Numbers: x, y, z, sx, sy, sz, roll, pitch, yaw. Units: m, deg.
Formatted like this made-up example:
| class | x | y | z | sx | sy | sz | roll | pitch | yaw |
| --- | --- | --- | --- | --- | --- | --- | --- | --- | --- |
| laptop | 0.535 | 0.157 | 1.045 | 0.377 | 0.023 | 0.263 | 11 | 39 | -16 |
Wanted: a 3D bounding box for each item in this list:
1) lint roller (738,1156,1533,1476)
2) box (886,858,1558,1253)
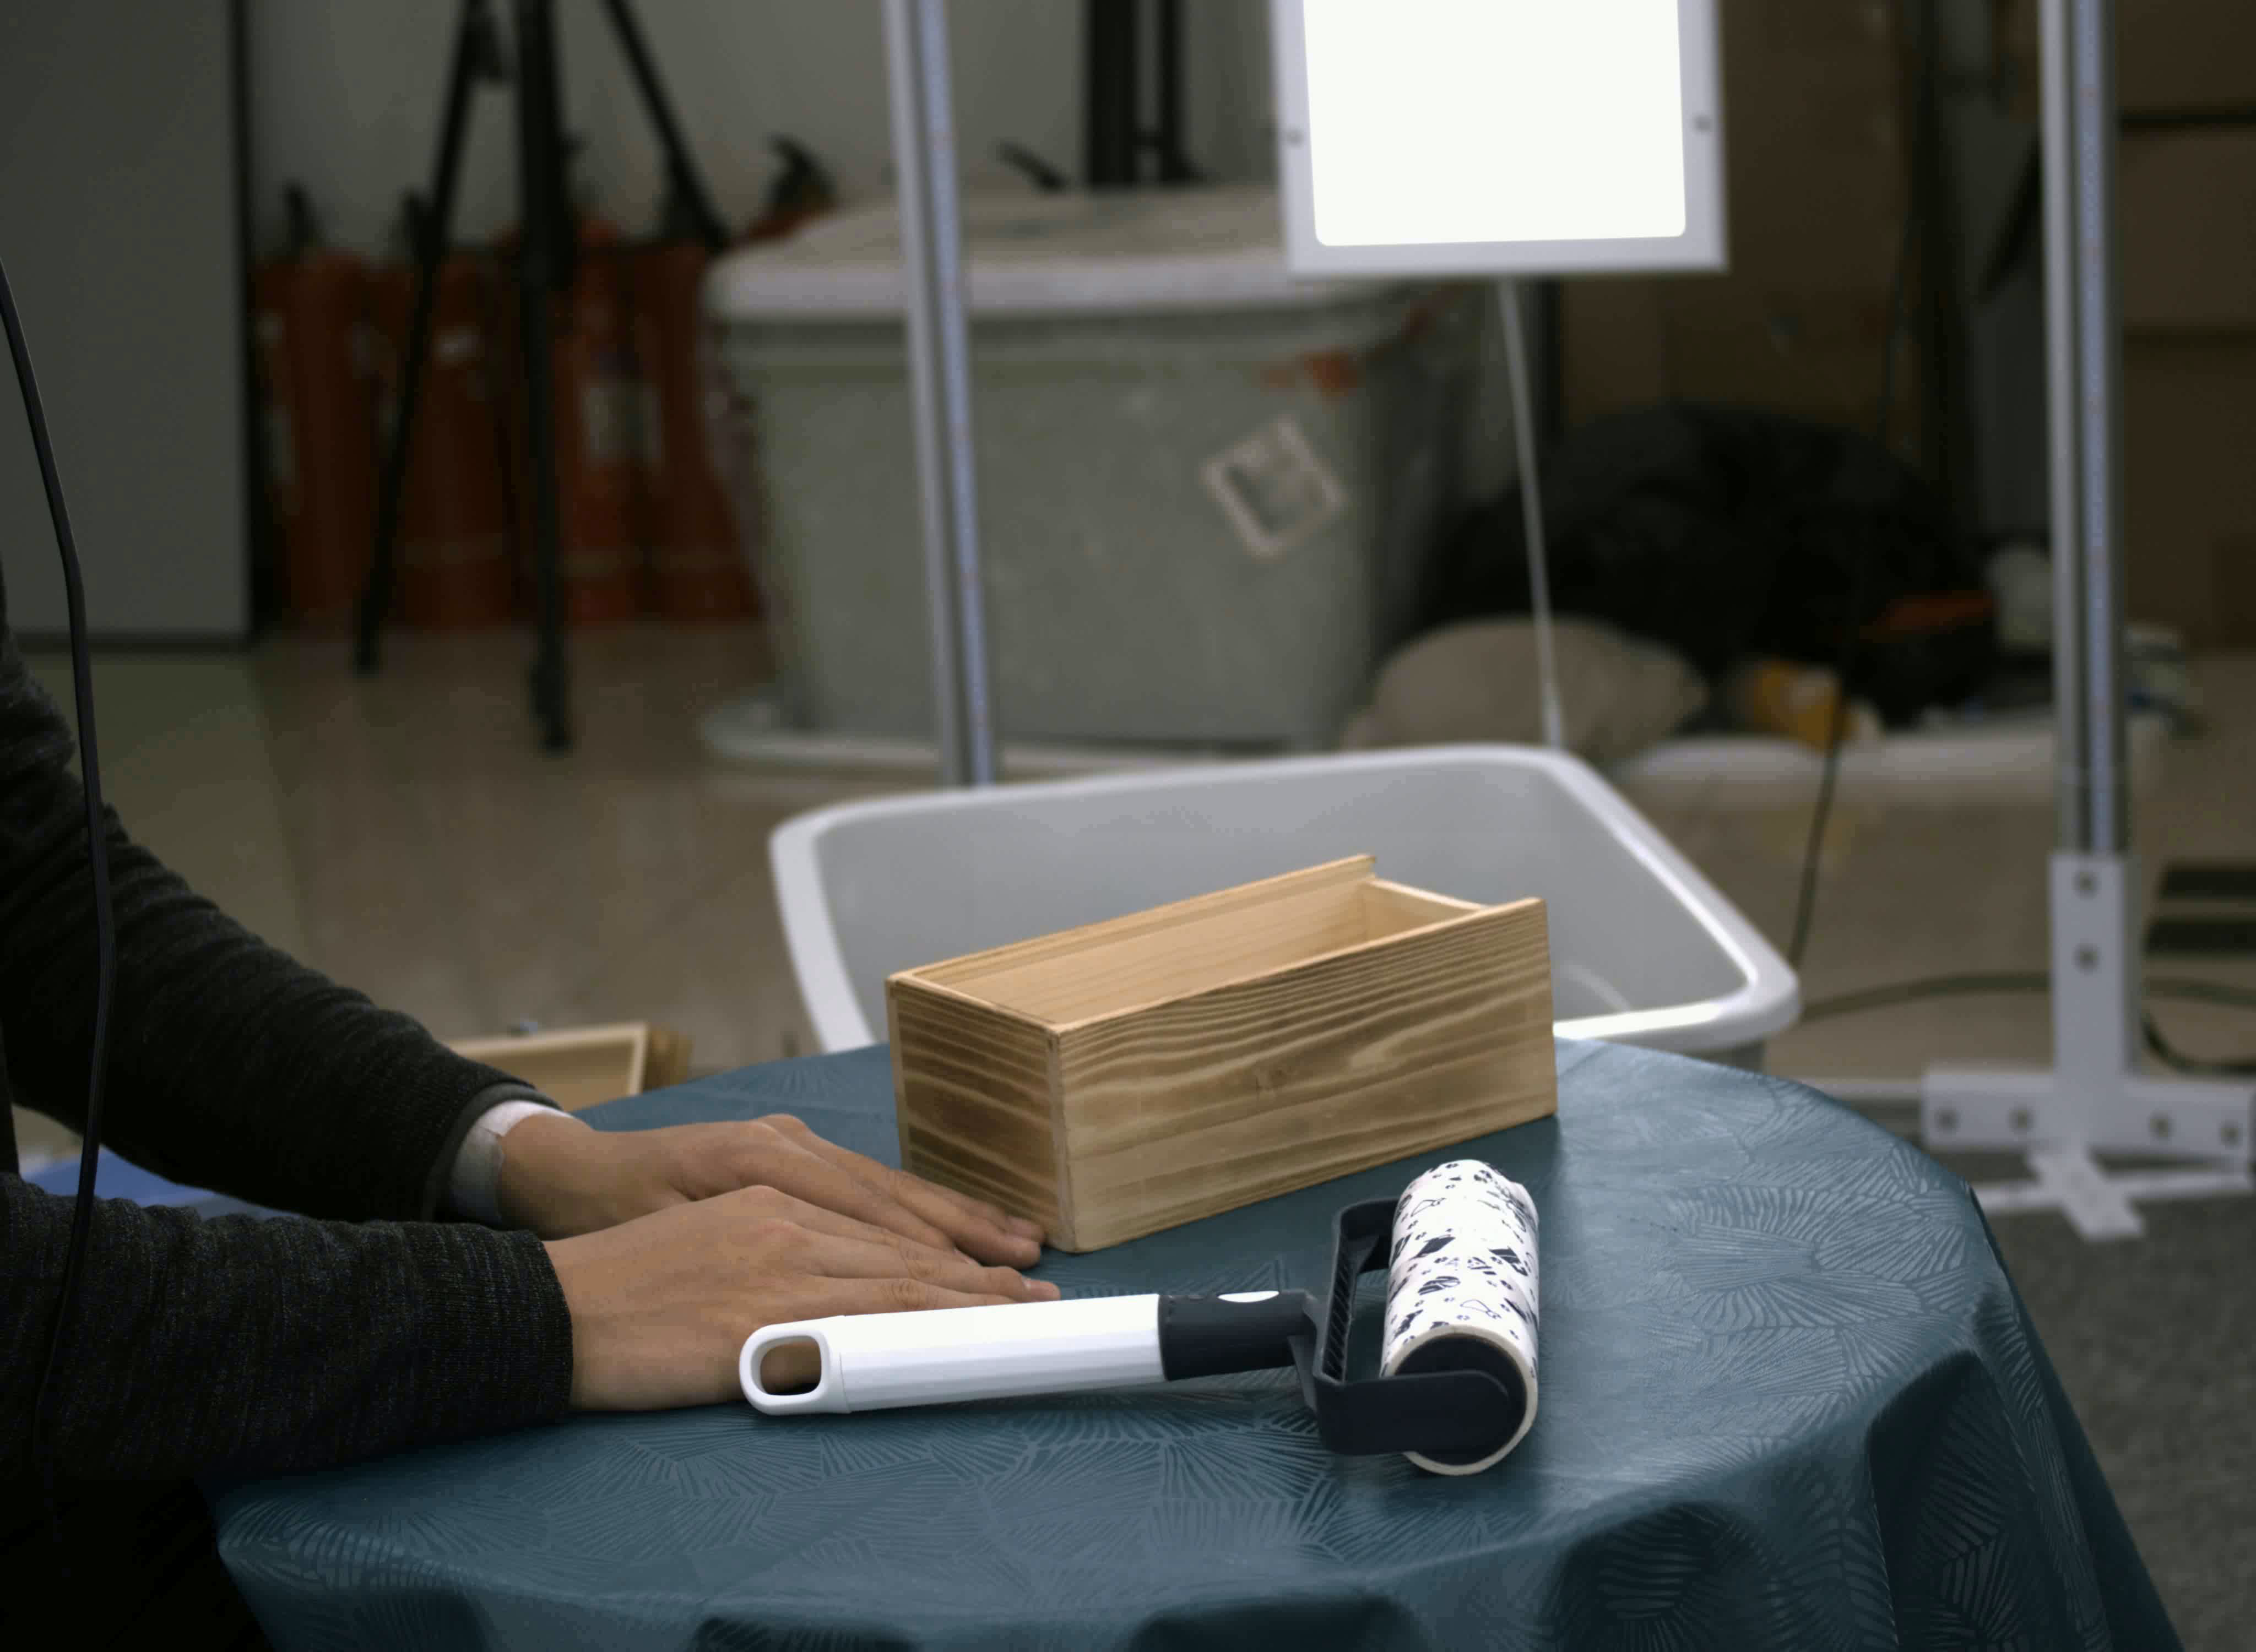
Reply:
| class | x | y | z | sx | sy | sz | roll | pitch | yaw |
| --- | --- | --- | --- | --- | --- | --- | --- | --- | --- |
| lint roller | 0.002 | 0.156 | 1.687 | 0.248 | 0.050 | 0.175 | -5 | 14 | 7 |
| box | 0.034 | 0.077 | 1.920 | 0.206 | 0.080 | 0.109 | -14 | 16 | -32 |
